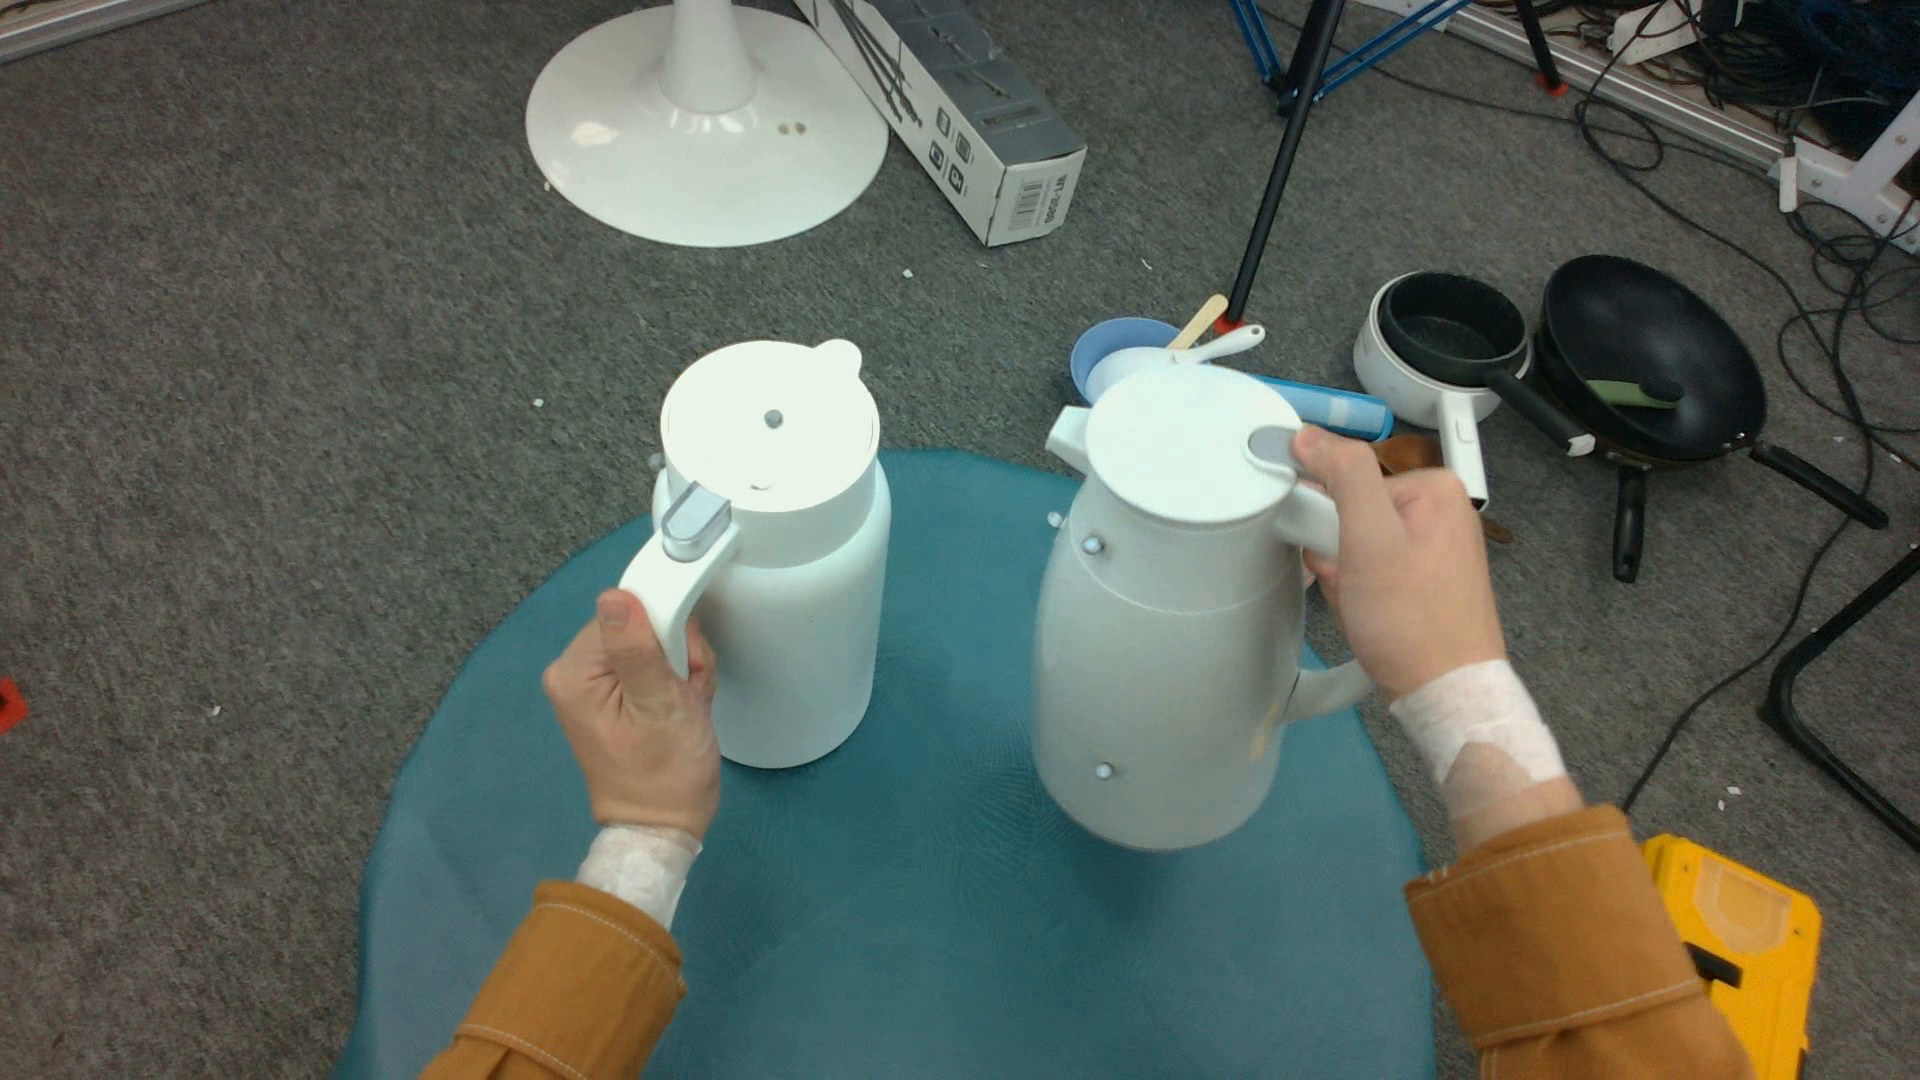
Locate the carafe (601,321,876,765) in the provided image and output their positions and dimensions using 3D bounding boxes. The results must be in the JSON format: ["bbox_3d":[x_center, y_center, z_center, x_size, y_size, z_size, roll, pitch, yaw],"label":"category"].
[{"bbox_3d":[-0.114,0.027,0.720,0.124,0.267,0.173,28,58,8],"label":"carafe"}]

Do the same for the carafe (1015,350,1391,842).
[{"bbox_3d":[0.111,0.031,0.650,0.167,0.247,0.133,17,52,14],"label":"carafe"}]
